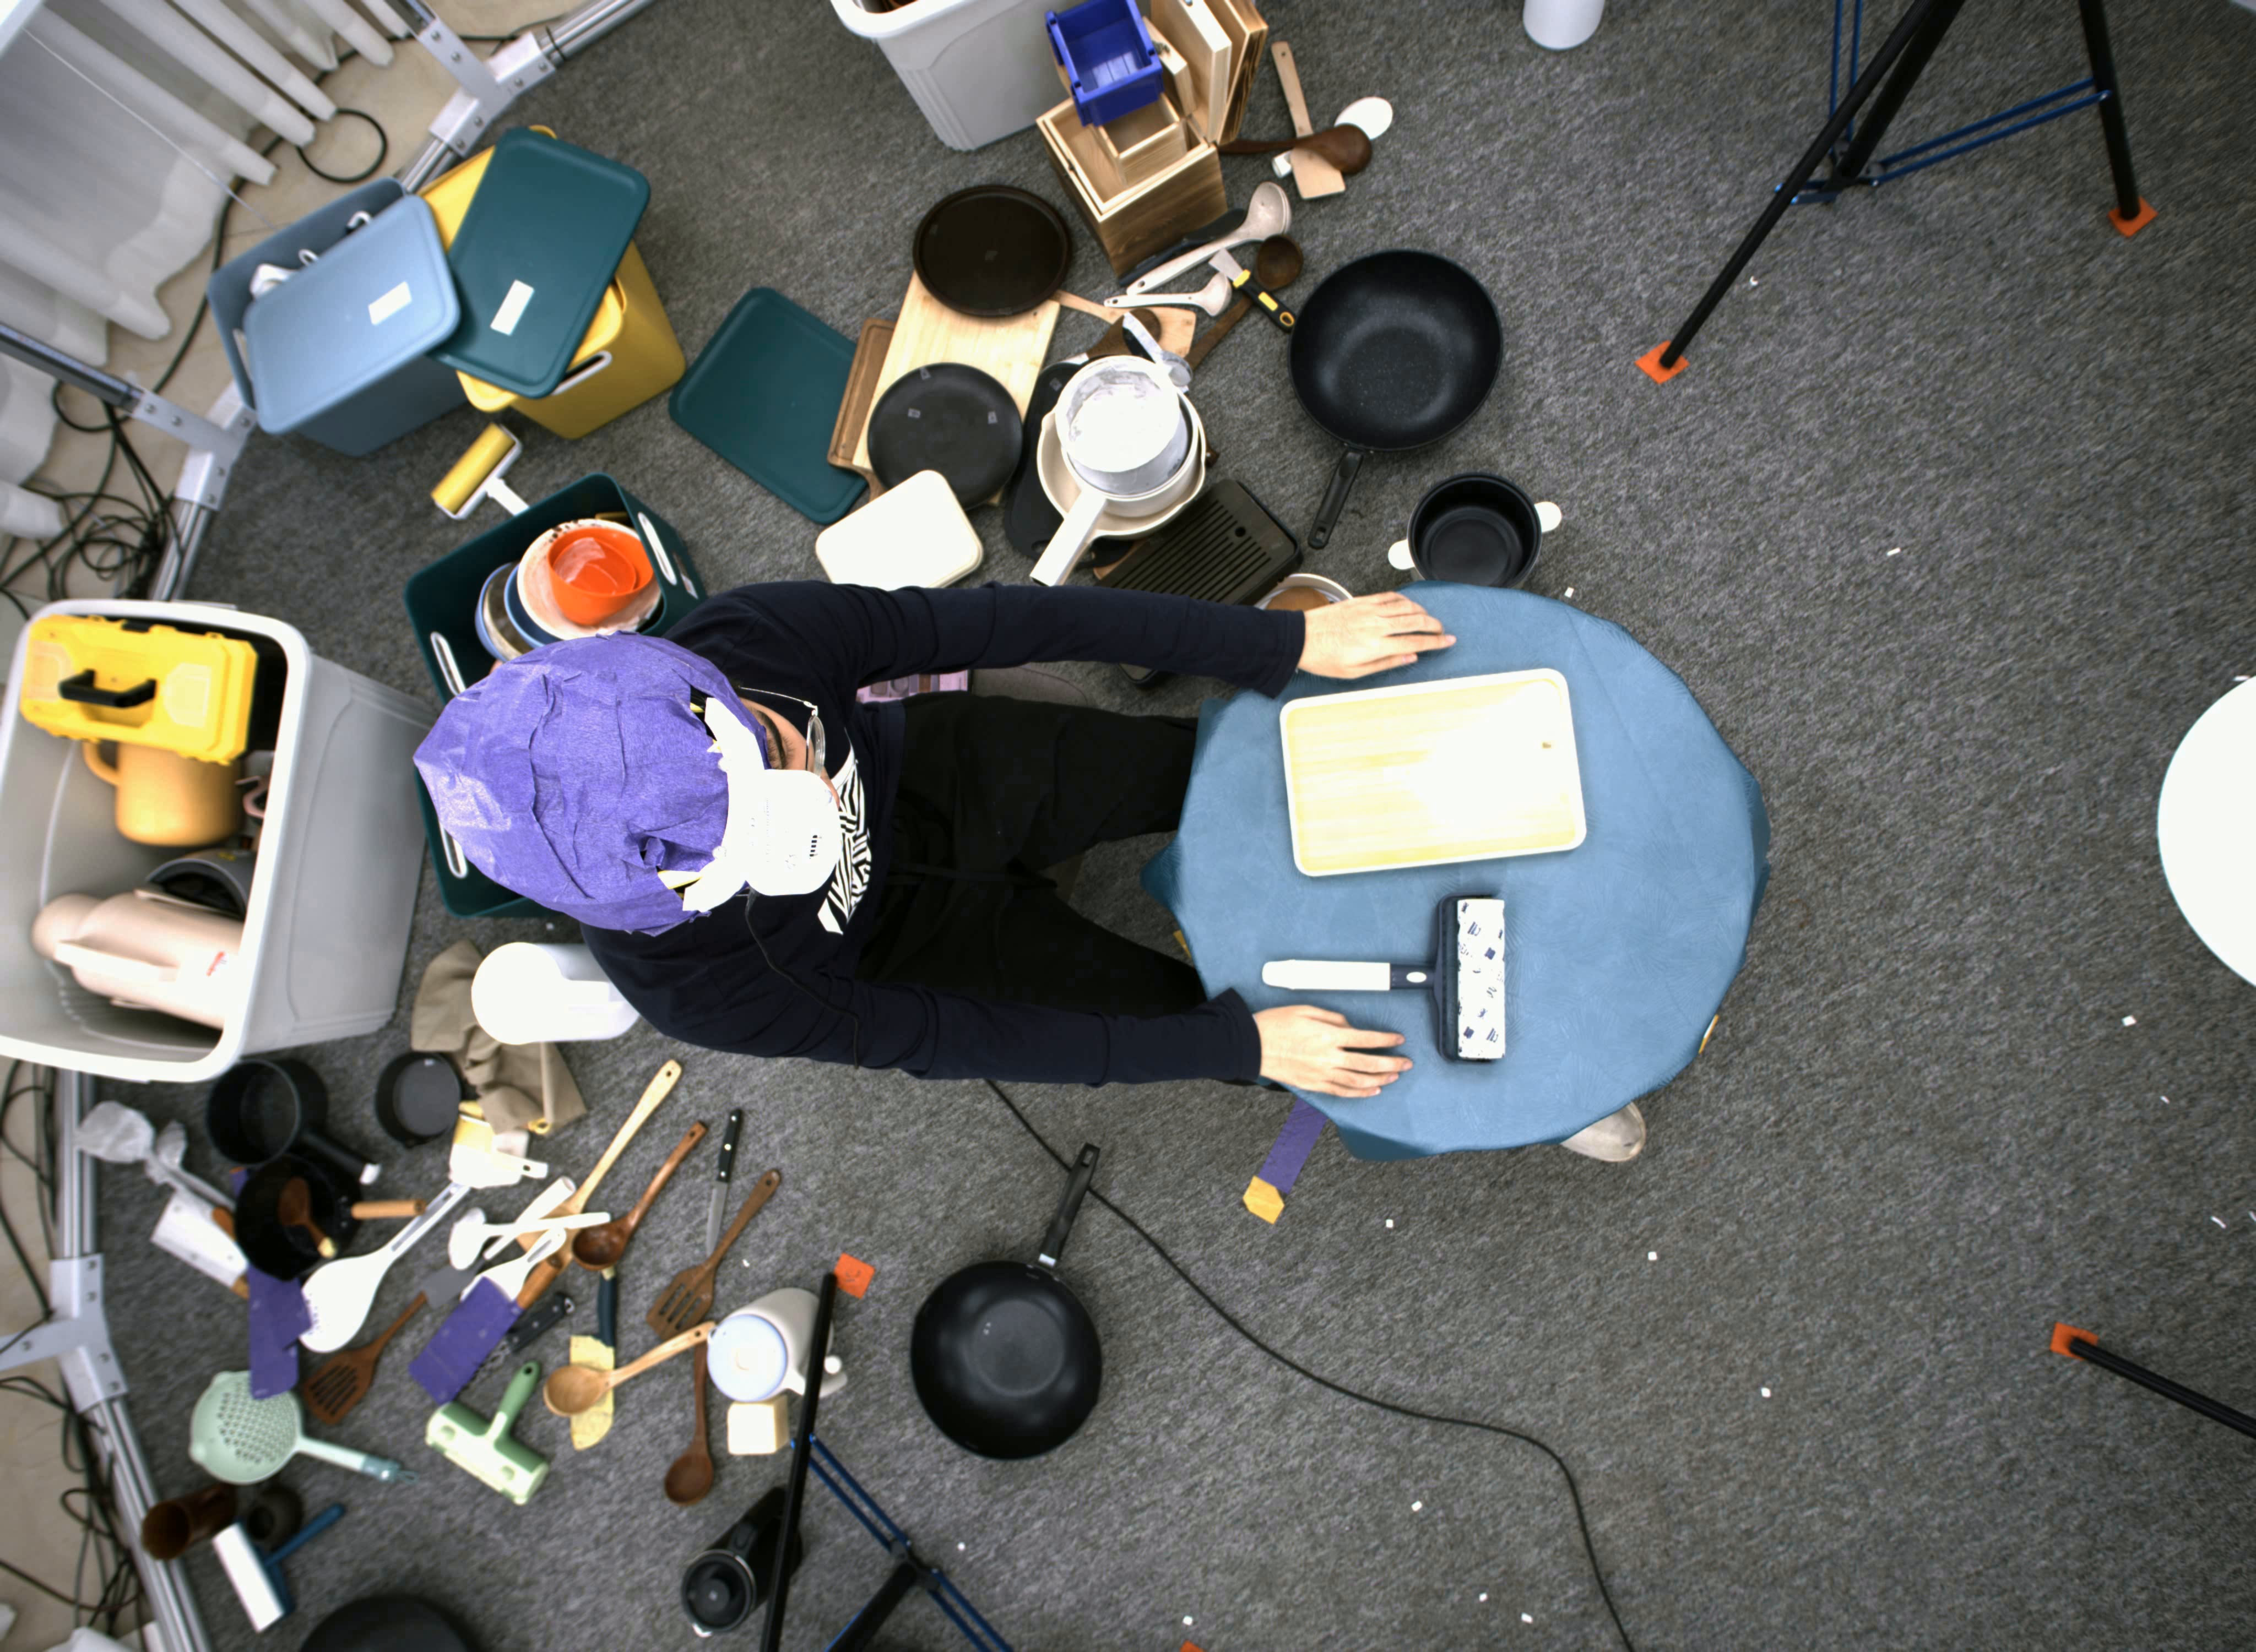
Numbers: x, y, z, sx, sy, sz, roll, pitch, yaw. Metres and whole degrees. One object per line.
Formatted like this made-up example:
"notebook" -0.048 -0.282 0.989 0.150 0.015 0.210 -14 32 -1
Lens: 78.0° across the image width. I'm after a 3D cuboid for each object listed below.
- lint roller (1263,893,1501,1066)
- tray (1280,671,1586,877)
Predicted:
"lint roller" 0.262 0.157 1.436 0.248 0.050 0.175 -1 87 13
"tray" 0.317 -0.055 1.444 0.302 0.027 0.191 -6 87 10
